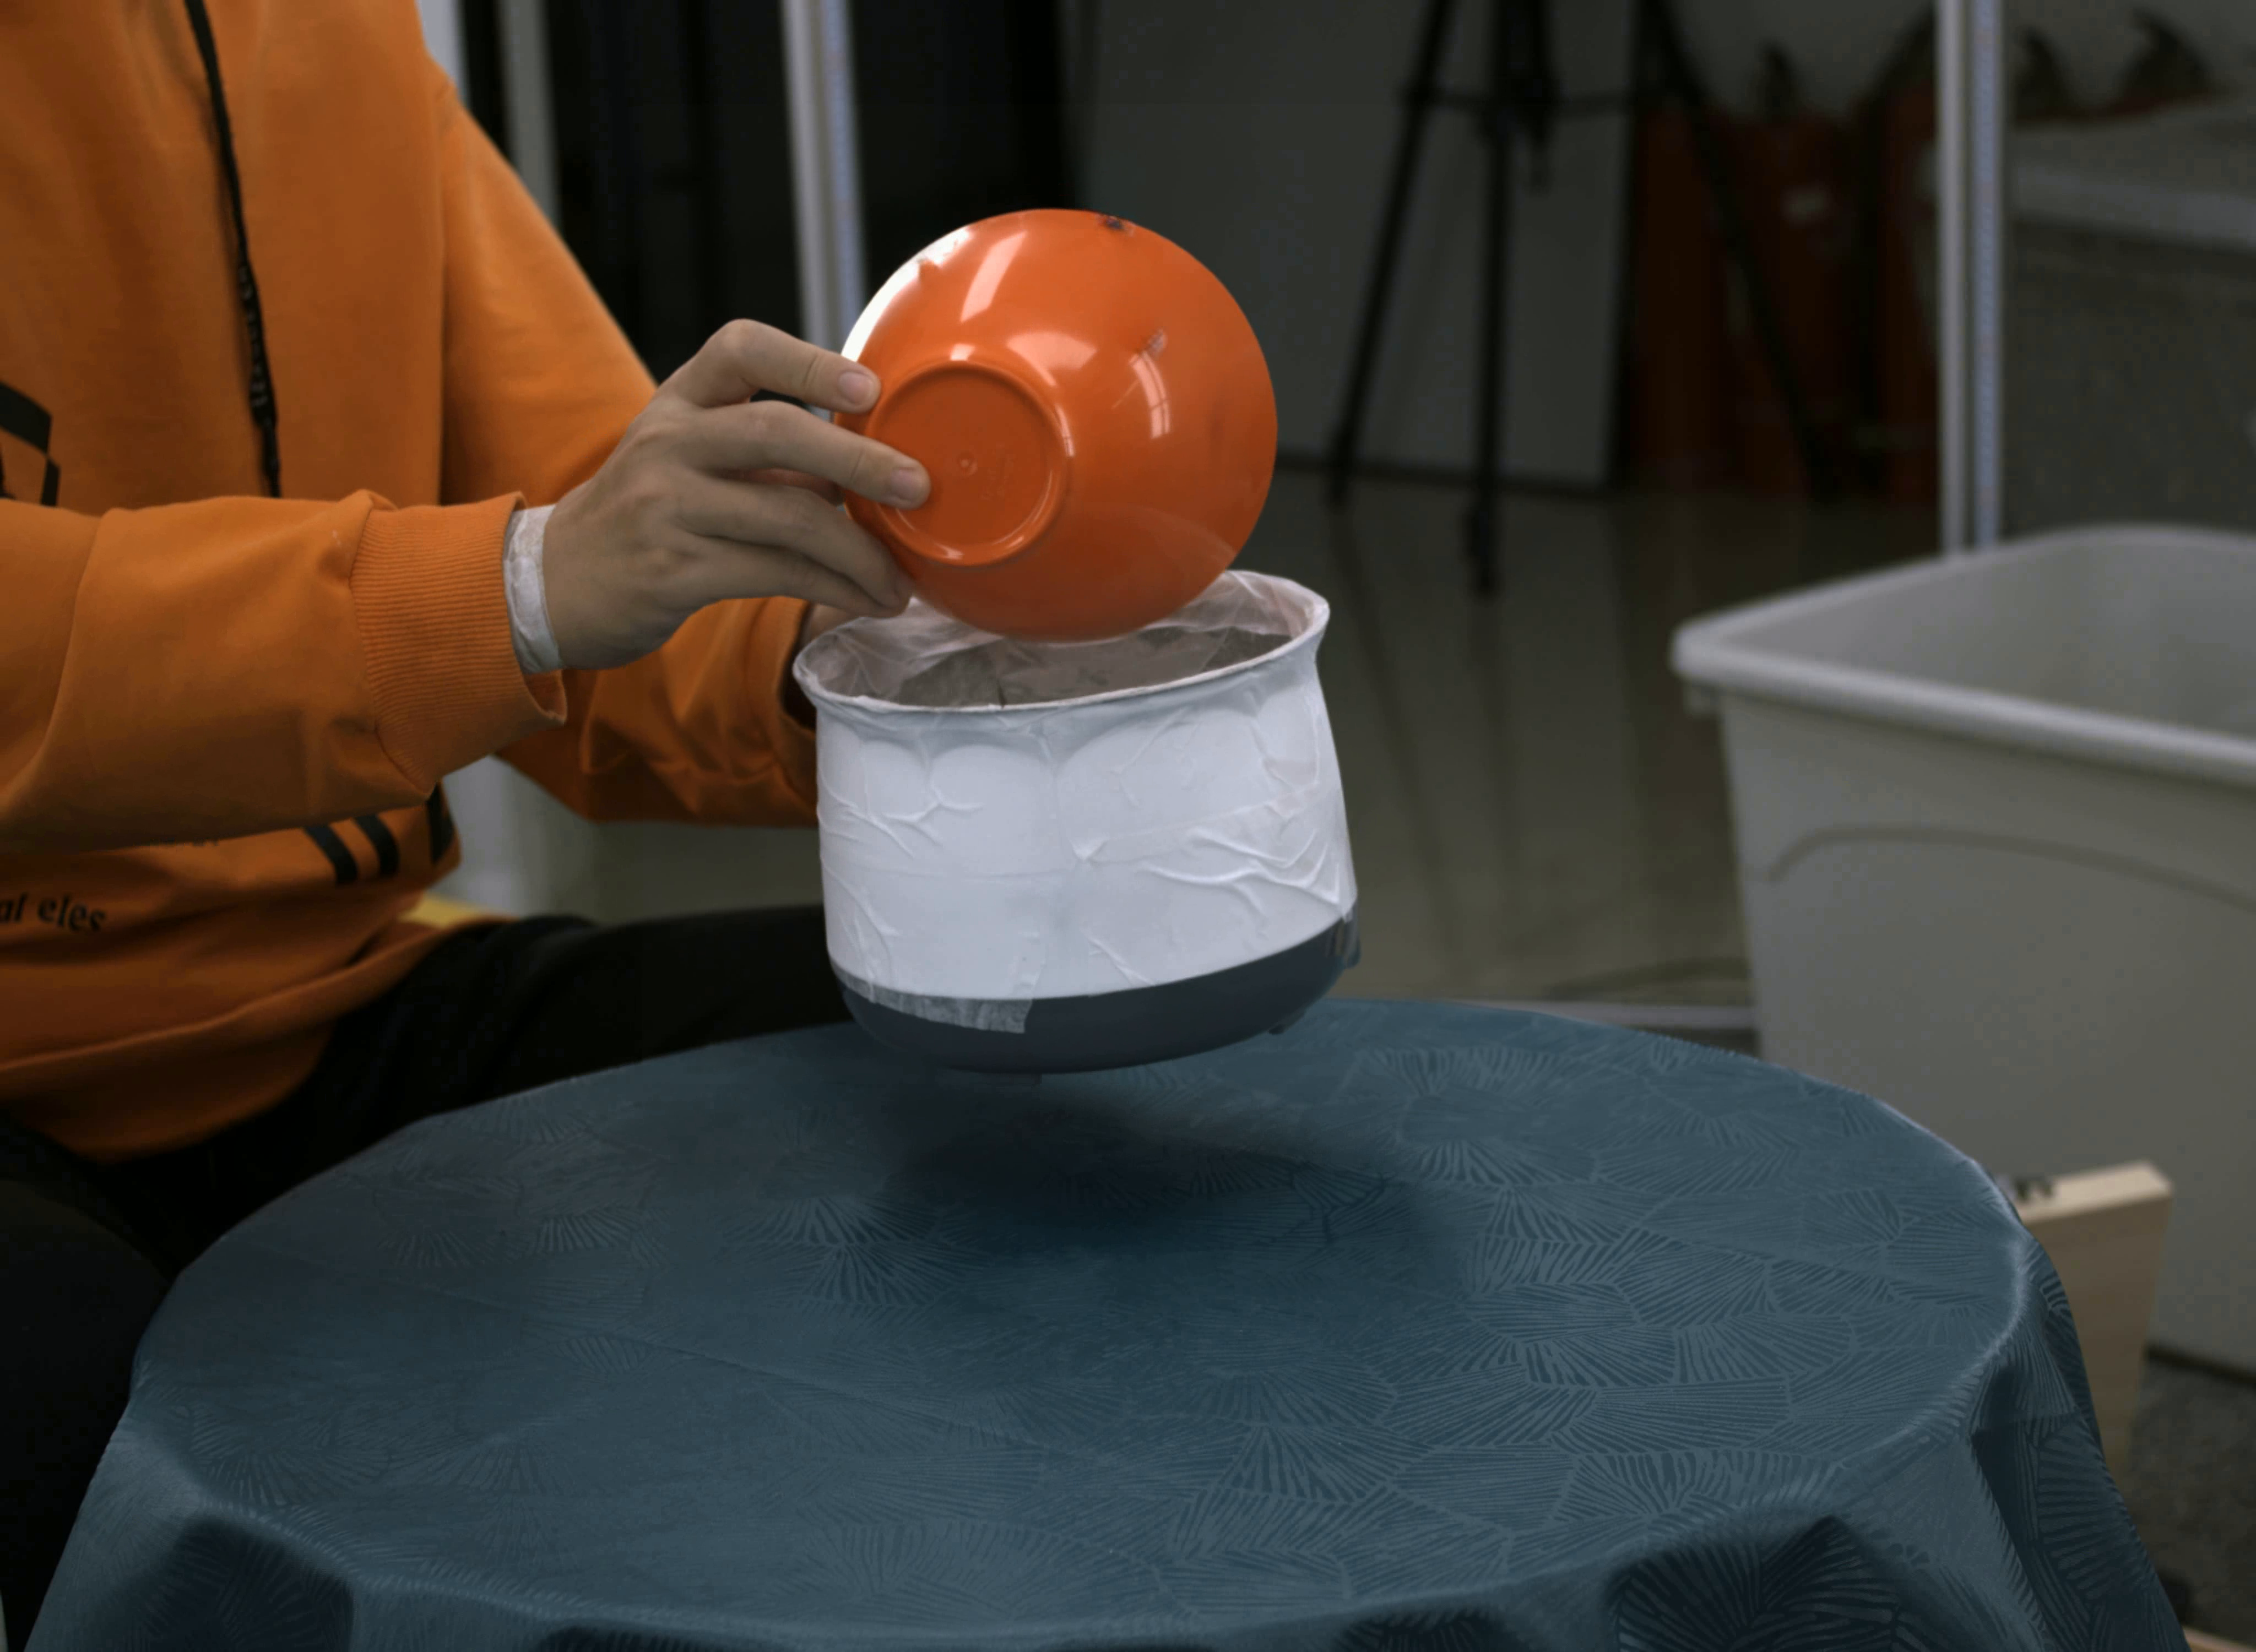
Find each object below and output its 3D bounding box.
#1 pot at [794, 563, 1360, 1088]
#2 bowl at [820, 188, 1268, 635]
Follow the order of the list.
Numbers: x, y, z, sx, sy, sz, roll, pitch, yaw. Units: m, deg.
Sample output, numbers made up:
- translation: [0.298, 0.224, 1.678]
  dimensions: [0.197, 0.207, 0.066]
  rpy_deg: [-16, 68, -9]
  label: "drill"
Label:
- translation: [-0.025, -0.008, 1.791]
  dimensions: [0.175, 0.138, 0.236]
  rpy_deg: [-11, 16, -18]
  label: "pot"
- translation: [-0.034, -0.126, 1.742]
  dimensions: [0.147, 0.150, 0.104]
  rpy_deg: [-1, 13, 12]
  label: "bowl"
